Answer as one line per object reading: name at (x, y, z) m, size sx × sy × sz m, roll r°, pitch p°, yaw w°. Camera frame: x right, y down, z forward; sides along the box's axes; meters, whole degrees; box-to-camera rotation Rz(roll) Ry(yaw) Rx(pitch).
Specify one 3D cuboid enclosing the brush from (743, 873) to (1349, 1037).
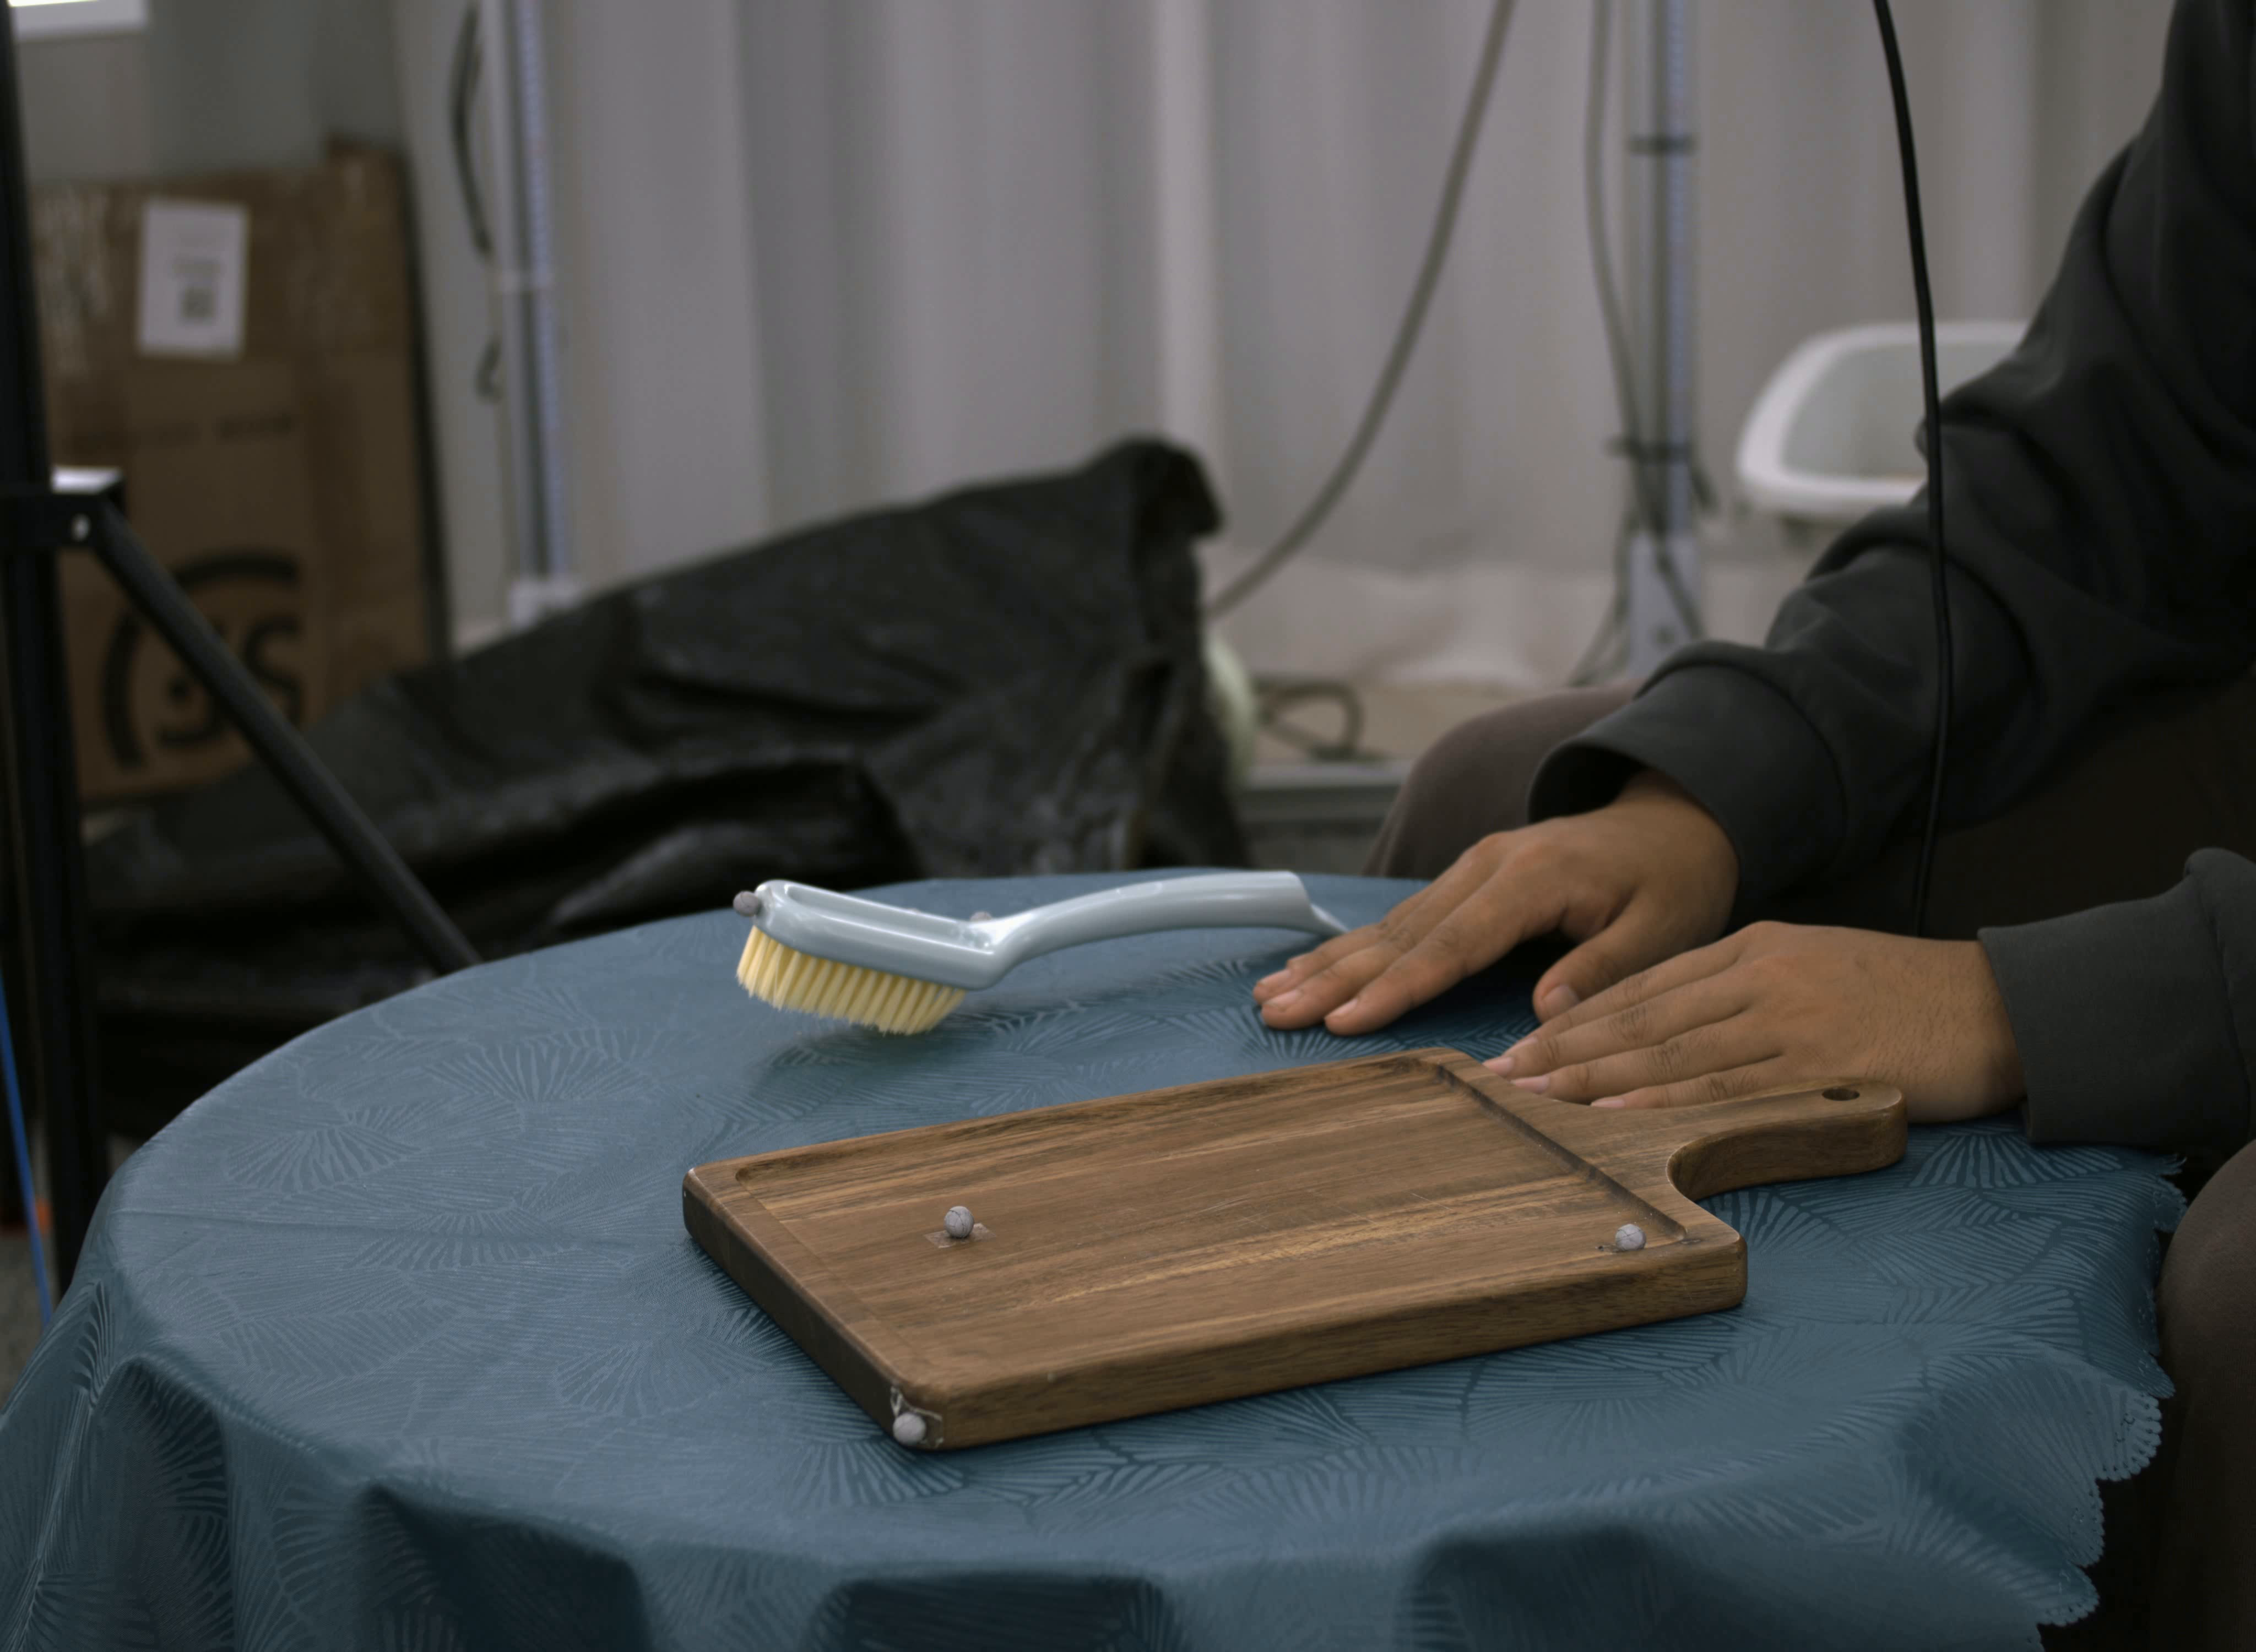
brush at (-0.025, 0.041, 1.740) m, size 0.223 × 0.050 × 0.038 m, roll -3°, pitch 26°, yaw -32°

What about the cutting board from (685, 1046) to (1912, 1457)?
cutting board at (0.068, 0.109, 1.506) m, size 0.346 × 0.023 × 0.205 m, roll -8°, pitch 17°, yaw -19°
